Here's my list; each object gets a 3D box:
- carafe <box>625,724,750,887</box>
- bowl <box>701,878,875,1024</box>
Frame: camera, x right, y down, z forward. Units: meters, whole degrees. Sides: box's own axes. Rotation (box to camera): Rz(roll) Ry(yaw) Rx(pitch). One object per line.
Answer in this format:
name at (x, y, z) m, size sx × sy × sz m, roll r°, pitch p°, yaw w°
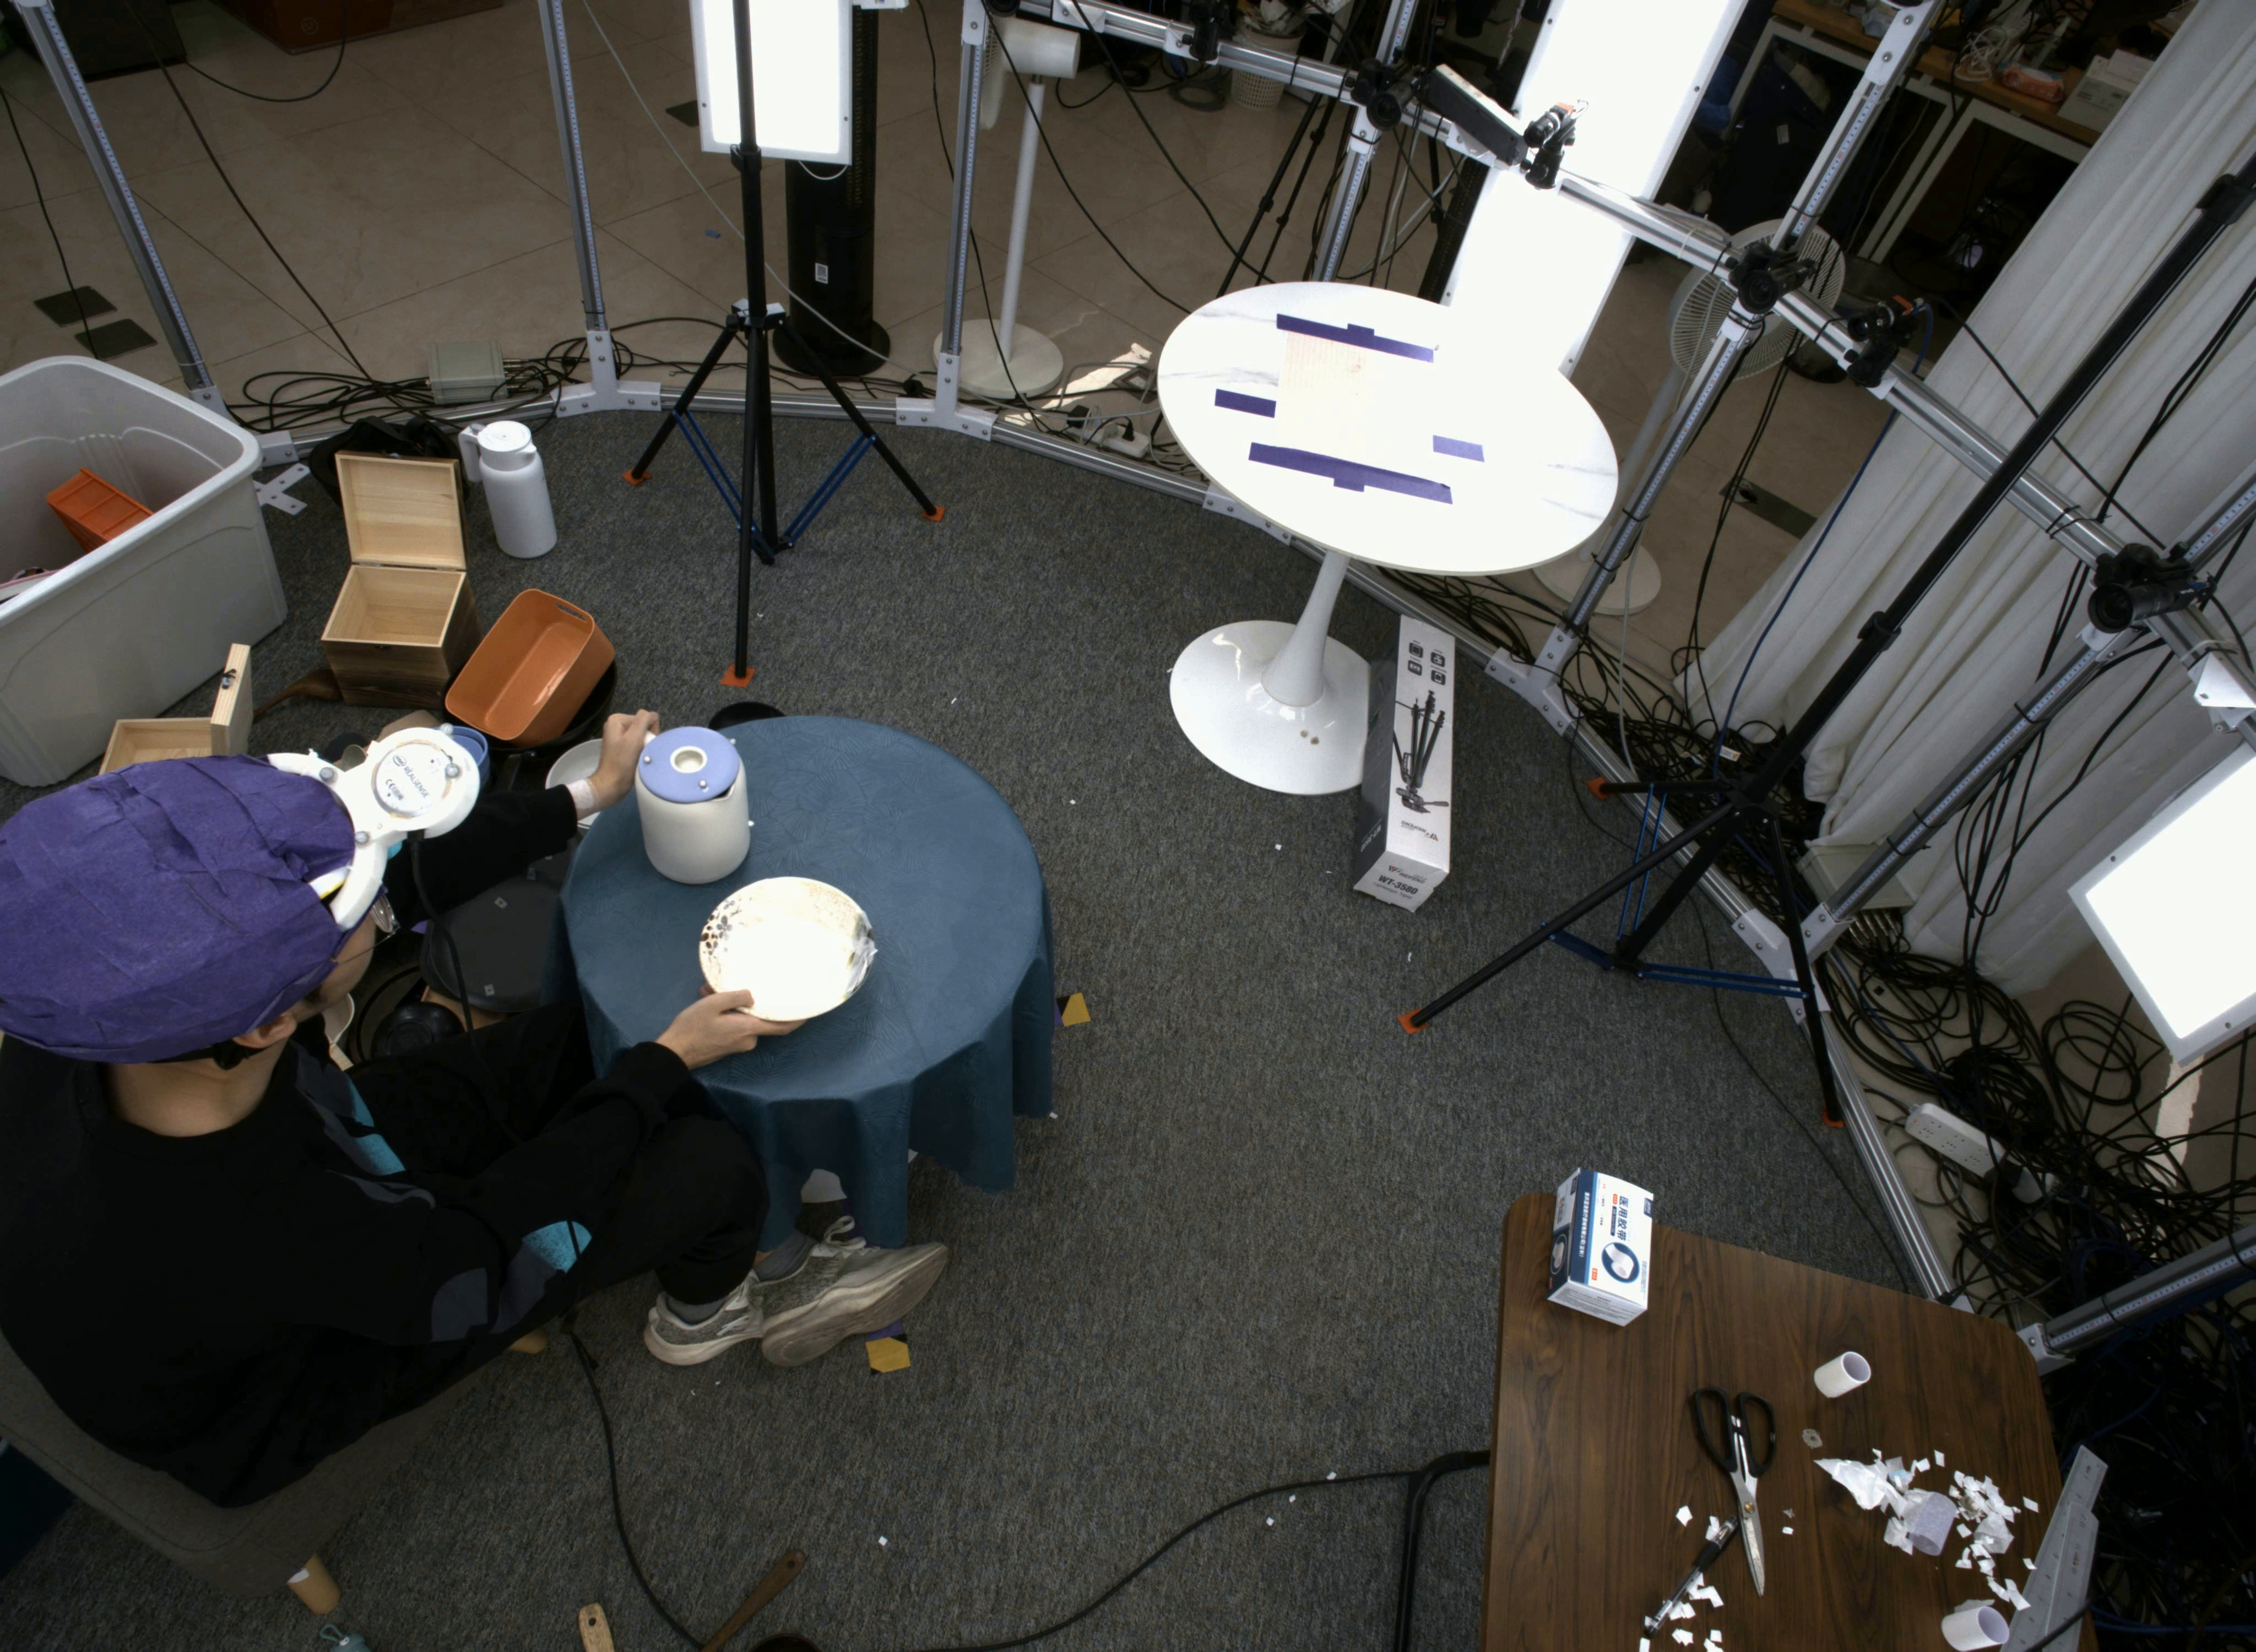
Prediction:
carafe at (-0.563, -0.039, 1.612) m, size 0.187 × 0.187 × 0.132 m, roll 33°, pitch 52°, yaw 15°
bowl at (-0.406, 0.165, 1.566) m, size 0.203 × 0.080 × 0.200 m, roll 5°, pitch 53°, yaw -6°
